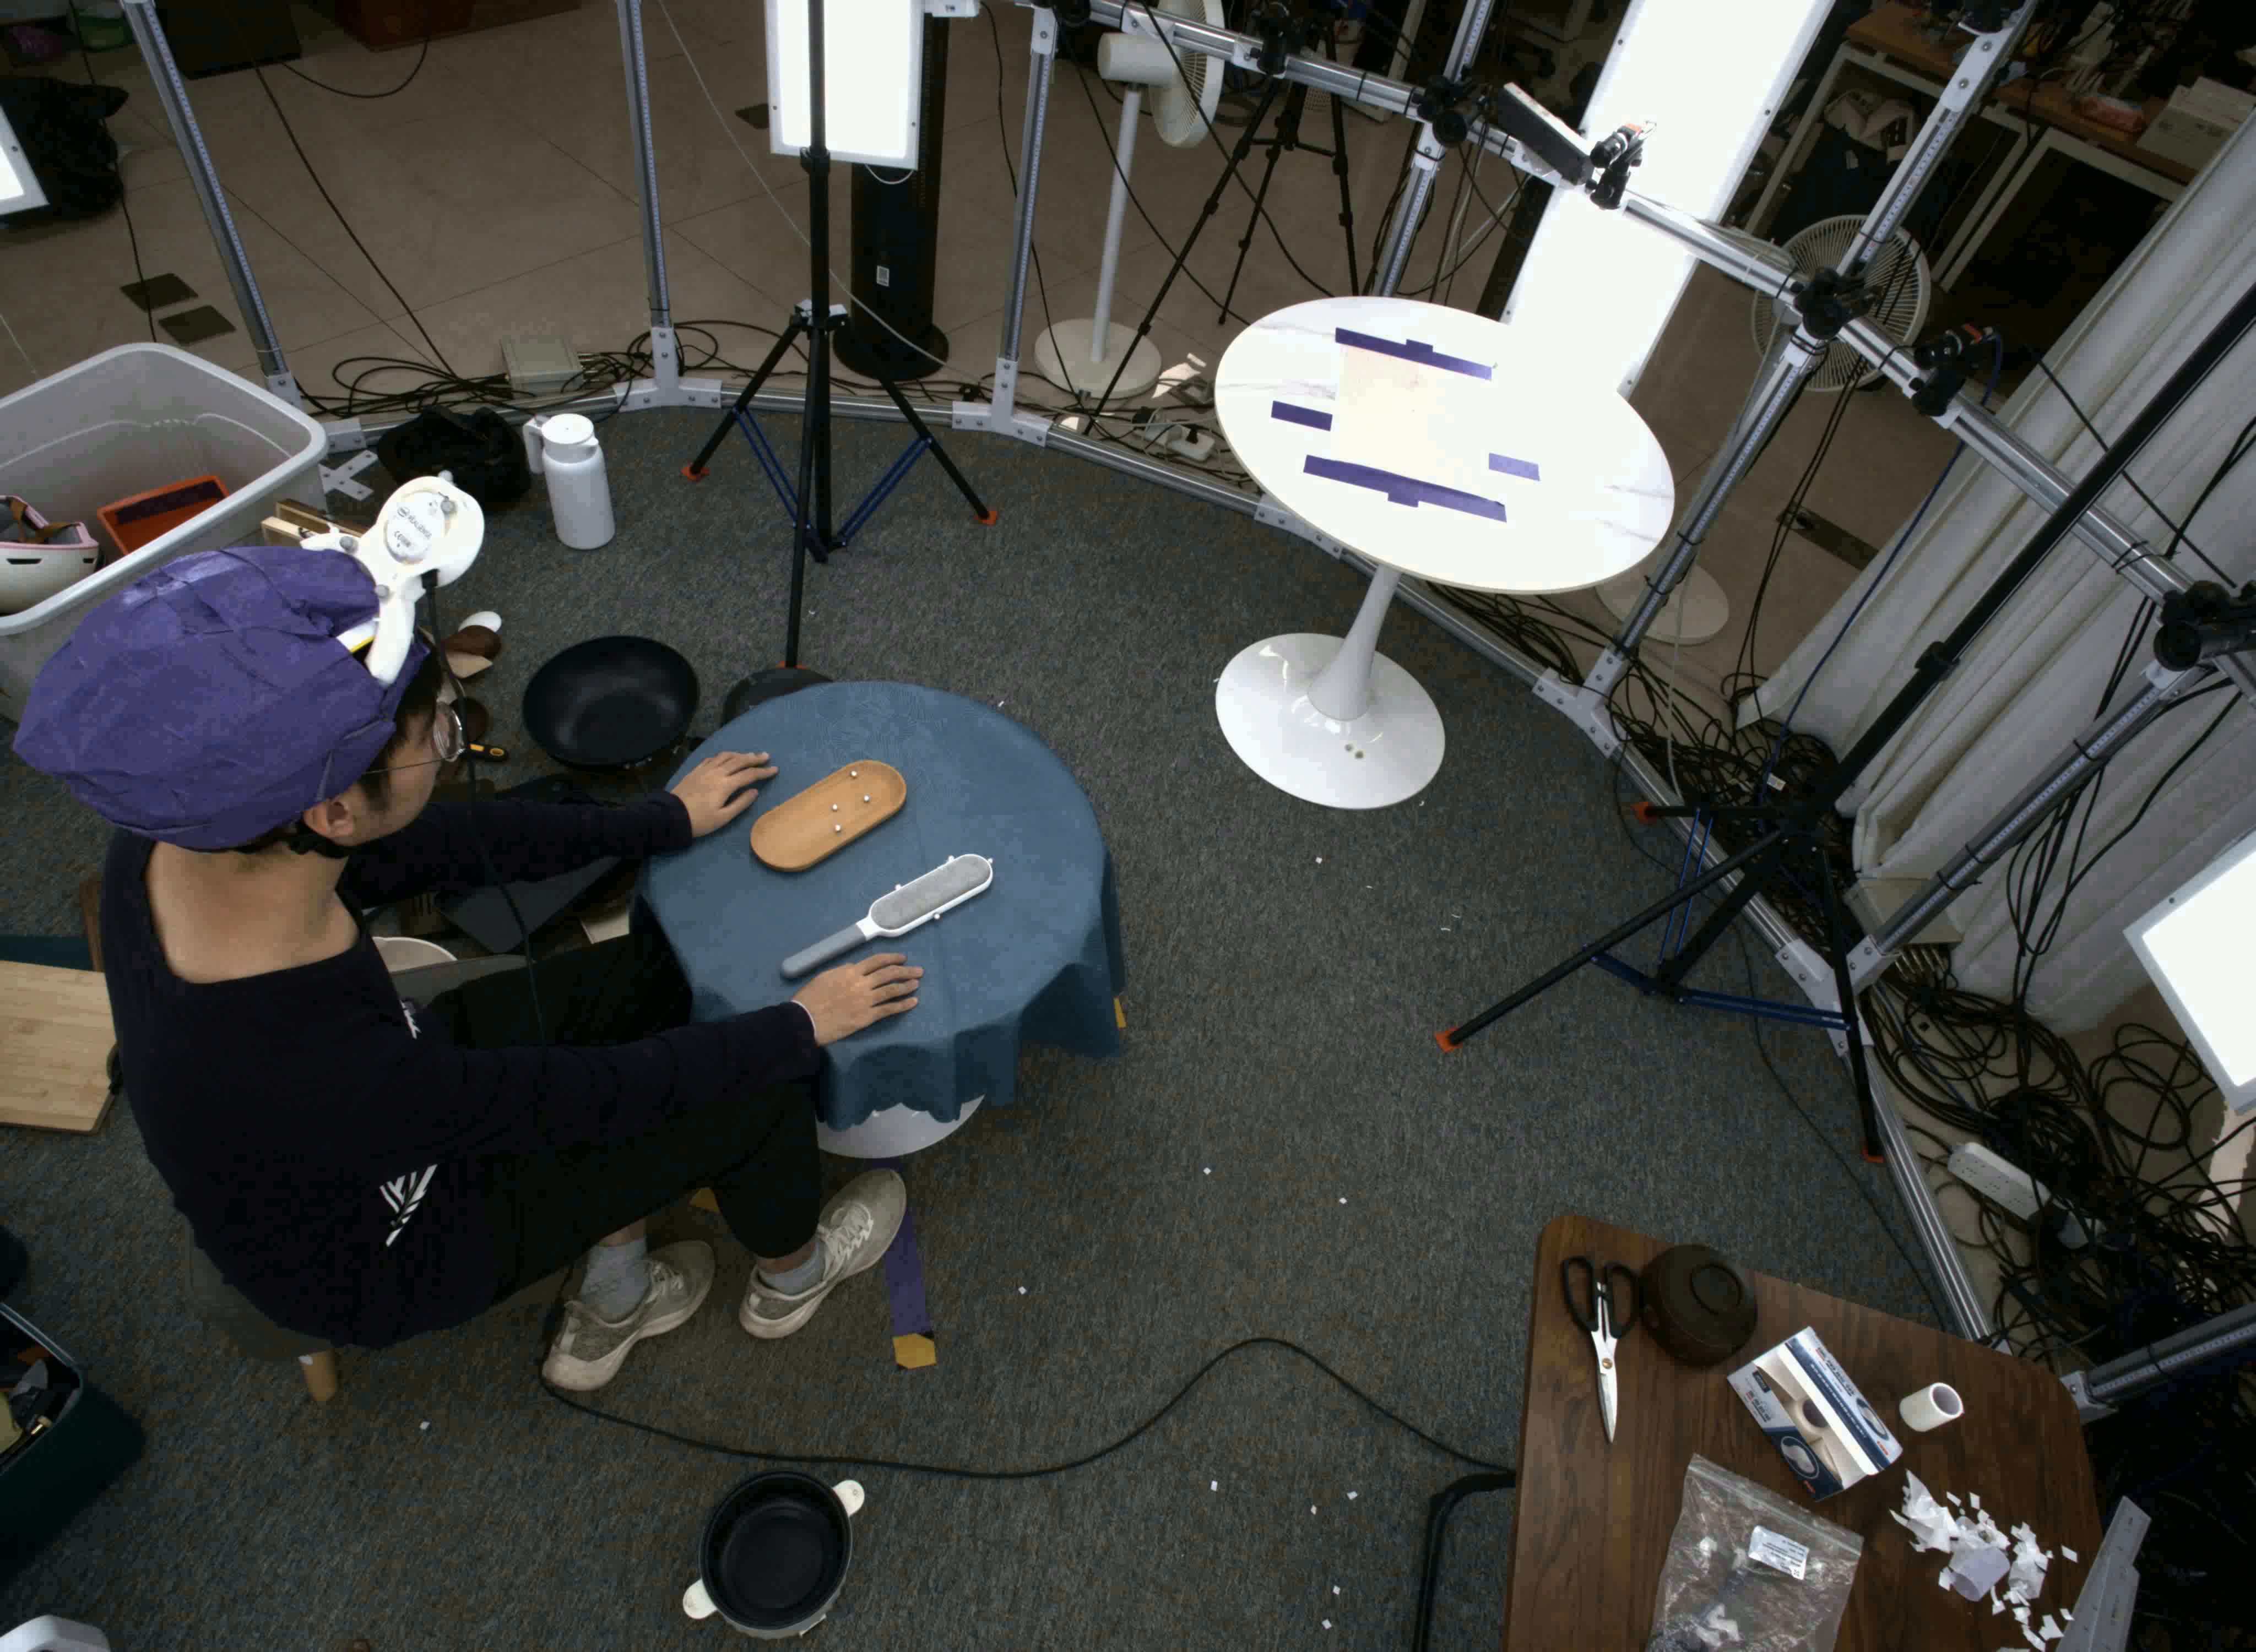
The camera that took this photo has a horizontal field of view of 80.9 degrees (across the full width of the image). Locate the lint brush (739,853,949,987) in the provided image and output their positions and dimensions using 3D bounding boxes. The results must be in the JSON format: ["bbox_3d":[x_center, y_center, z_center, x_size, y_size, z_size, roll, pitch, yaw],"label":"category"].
[{"bbox_3d":[-0.357,0.116,1.649,0.310,0.021,0.059,-31,72,-31],"label":"lint brush"}]

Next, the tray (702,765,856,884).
[{"bbox_3d":[-0.461,-0.005,1.719,0.099,0.021,0.231,38,56,17],"label":"tray"}]
